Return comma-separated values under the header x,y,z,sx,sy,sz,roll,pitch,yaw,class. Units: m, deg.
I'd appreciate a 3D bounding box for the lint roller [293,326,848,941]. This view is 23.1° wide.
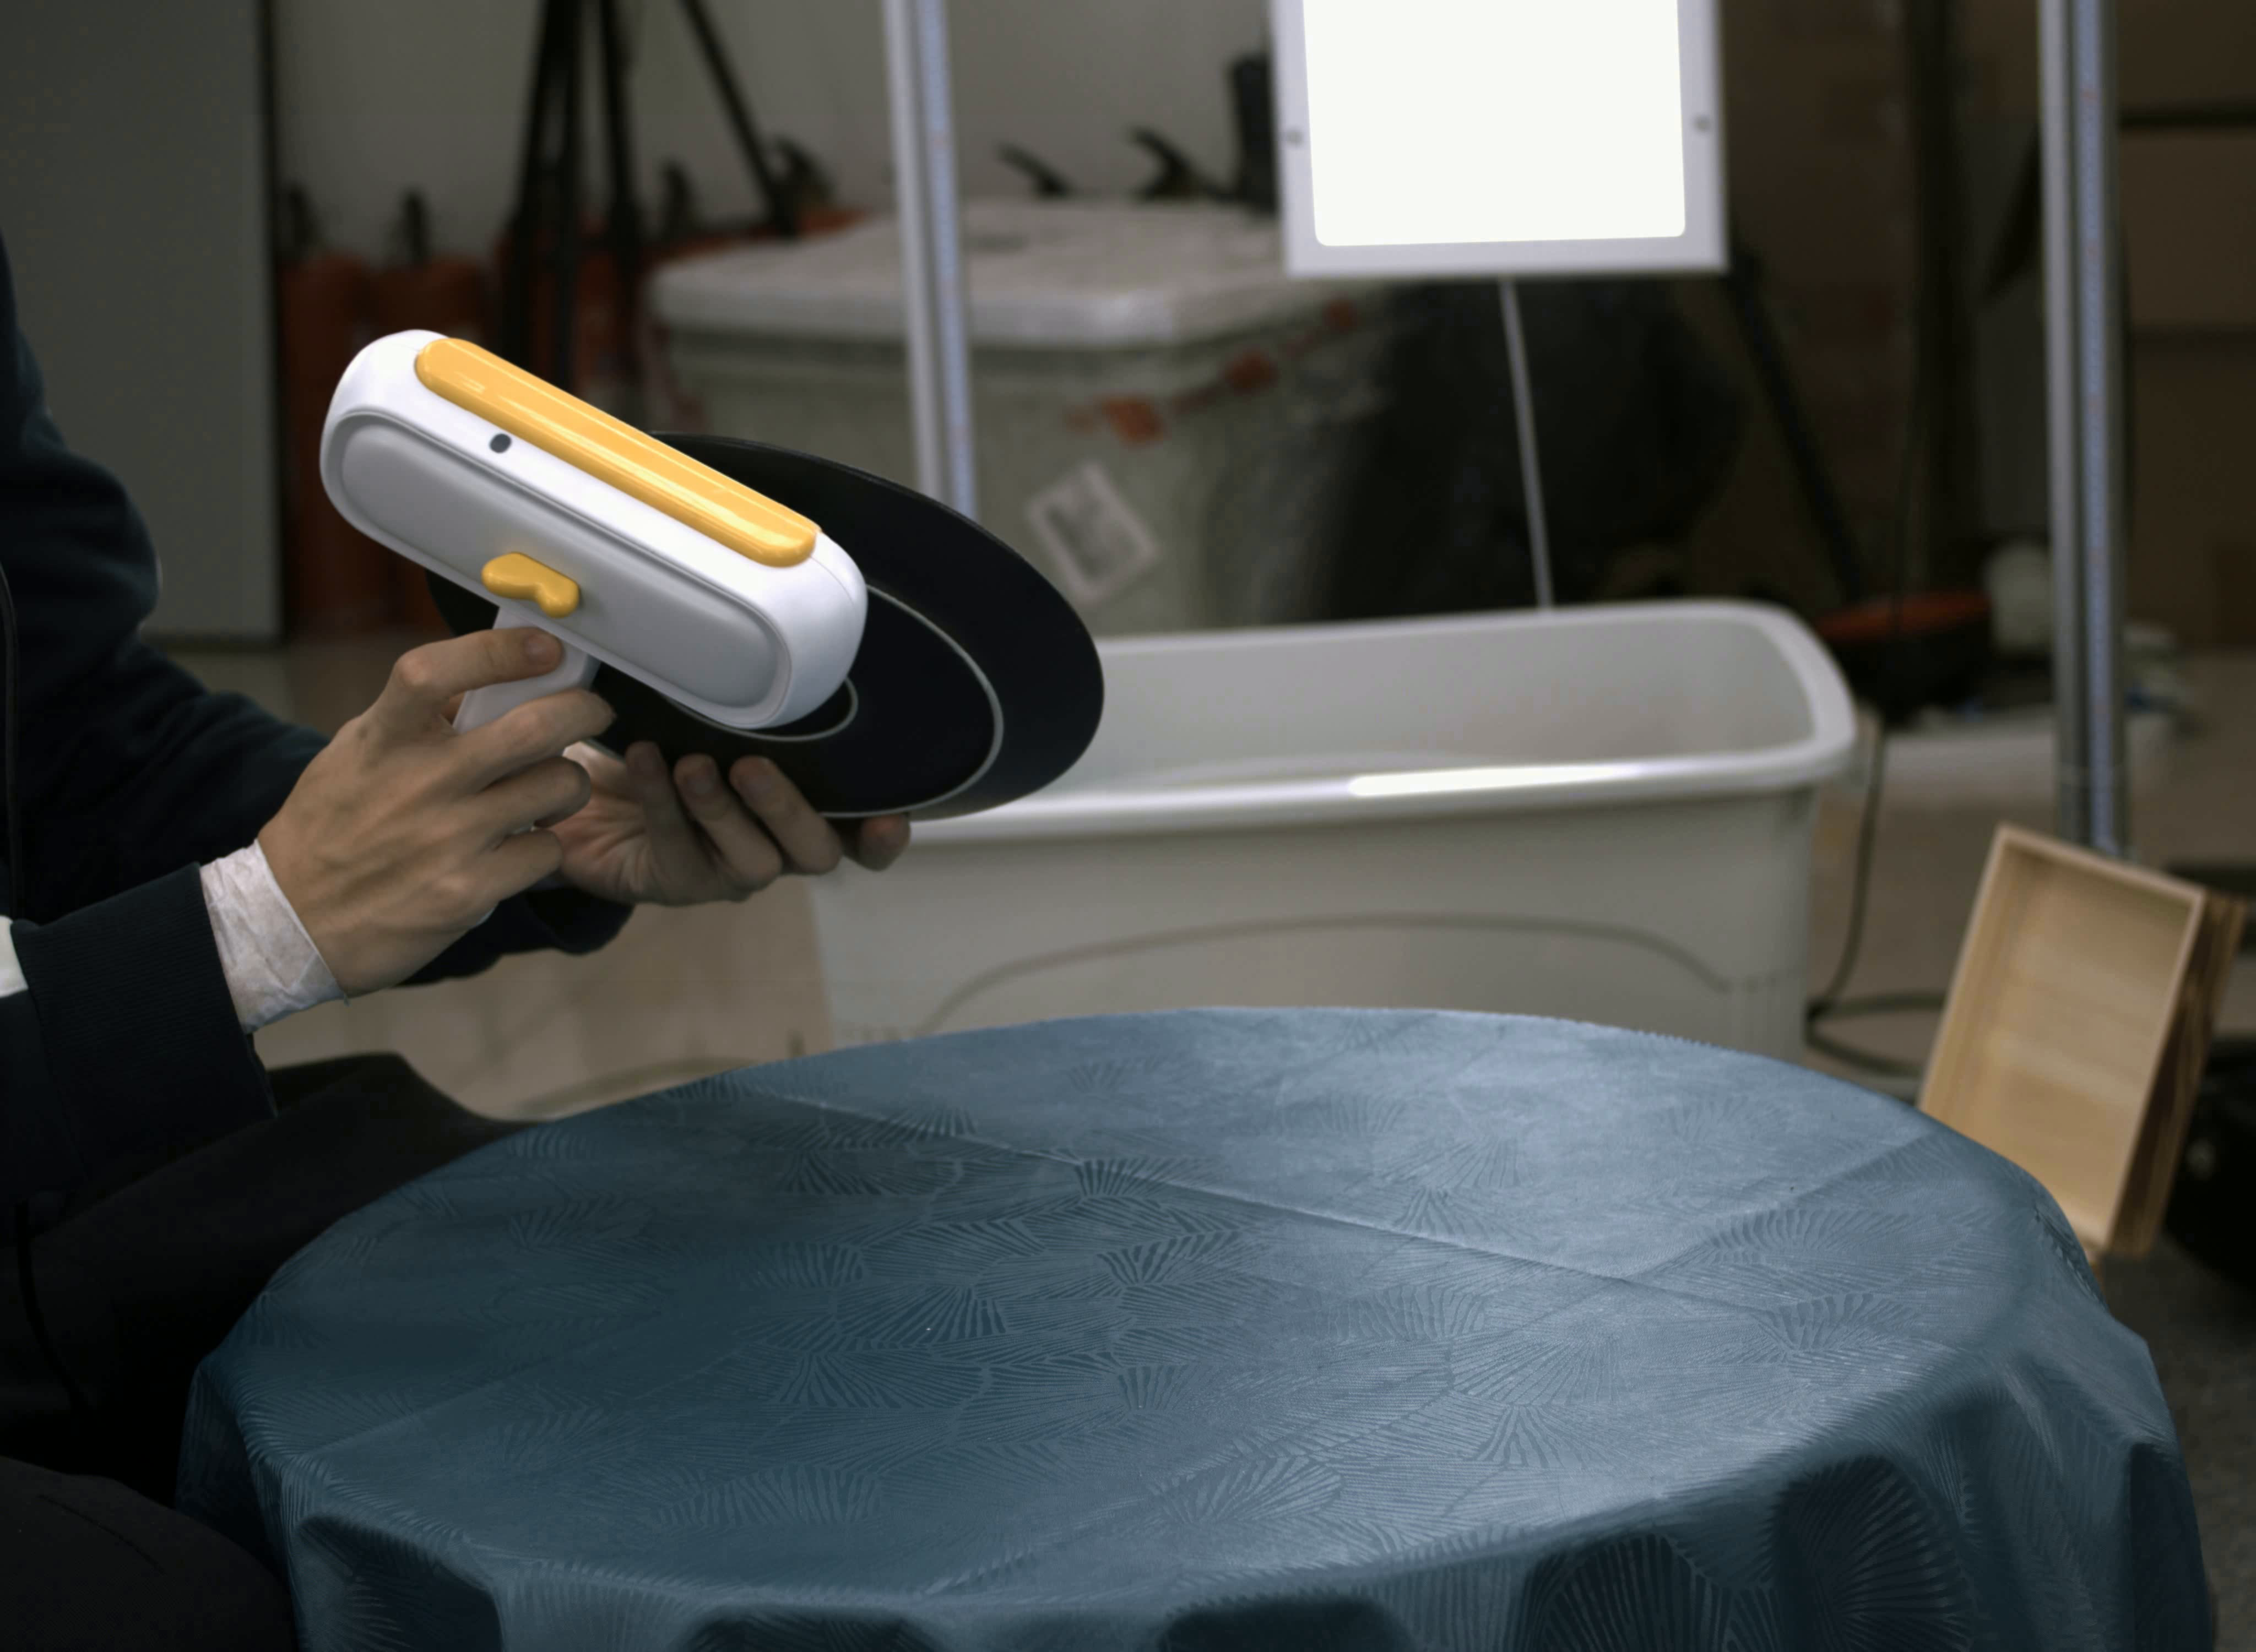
x,y,z,sx,sy,sz,roll,pitch,yaw,class
-0.199,-0.050,1.829,0.193,0.195,0.073,22,36,7,lint roller

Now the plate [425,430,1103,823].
x,y,z,sx,sy,sz,roll,pitch,yaw,class
-0.129,-0.059,1.911,0.245,0.023,0.245,11,-29,5,plate
